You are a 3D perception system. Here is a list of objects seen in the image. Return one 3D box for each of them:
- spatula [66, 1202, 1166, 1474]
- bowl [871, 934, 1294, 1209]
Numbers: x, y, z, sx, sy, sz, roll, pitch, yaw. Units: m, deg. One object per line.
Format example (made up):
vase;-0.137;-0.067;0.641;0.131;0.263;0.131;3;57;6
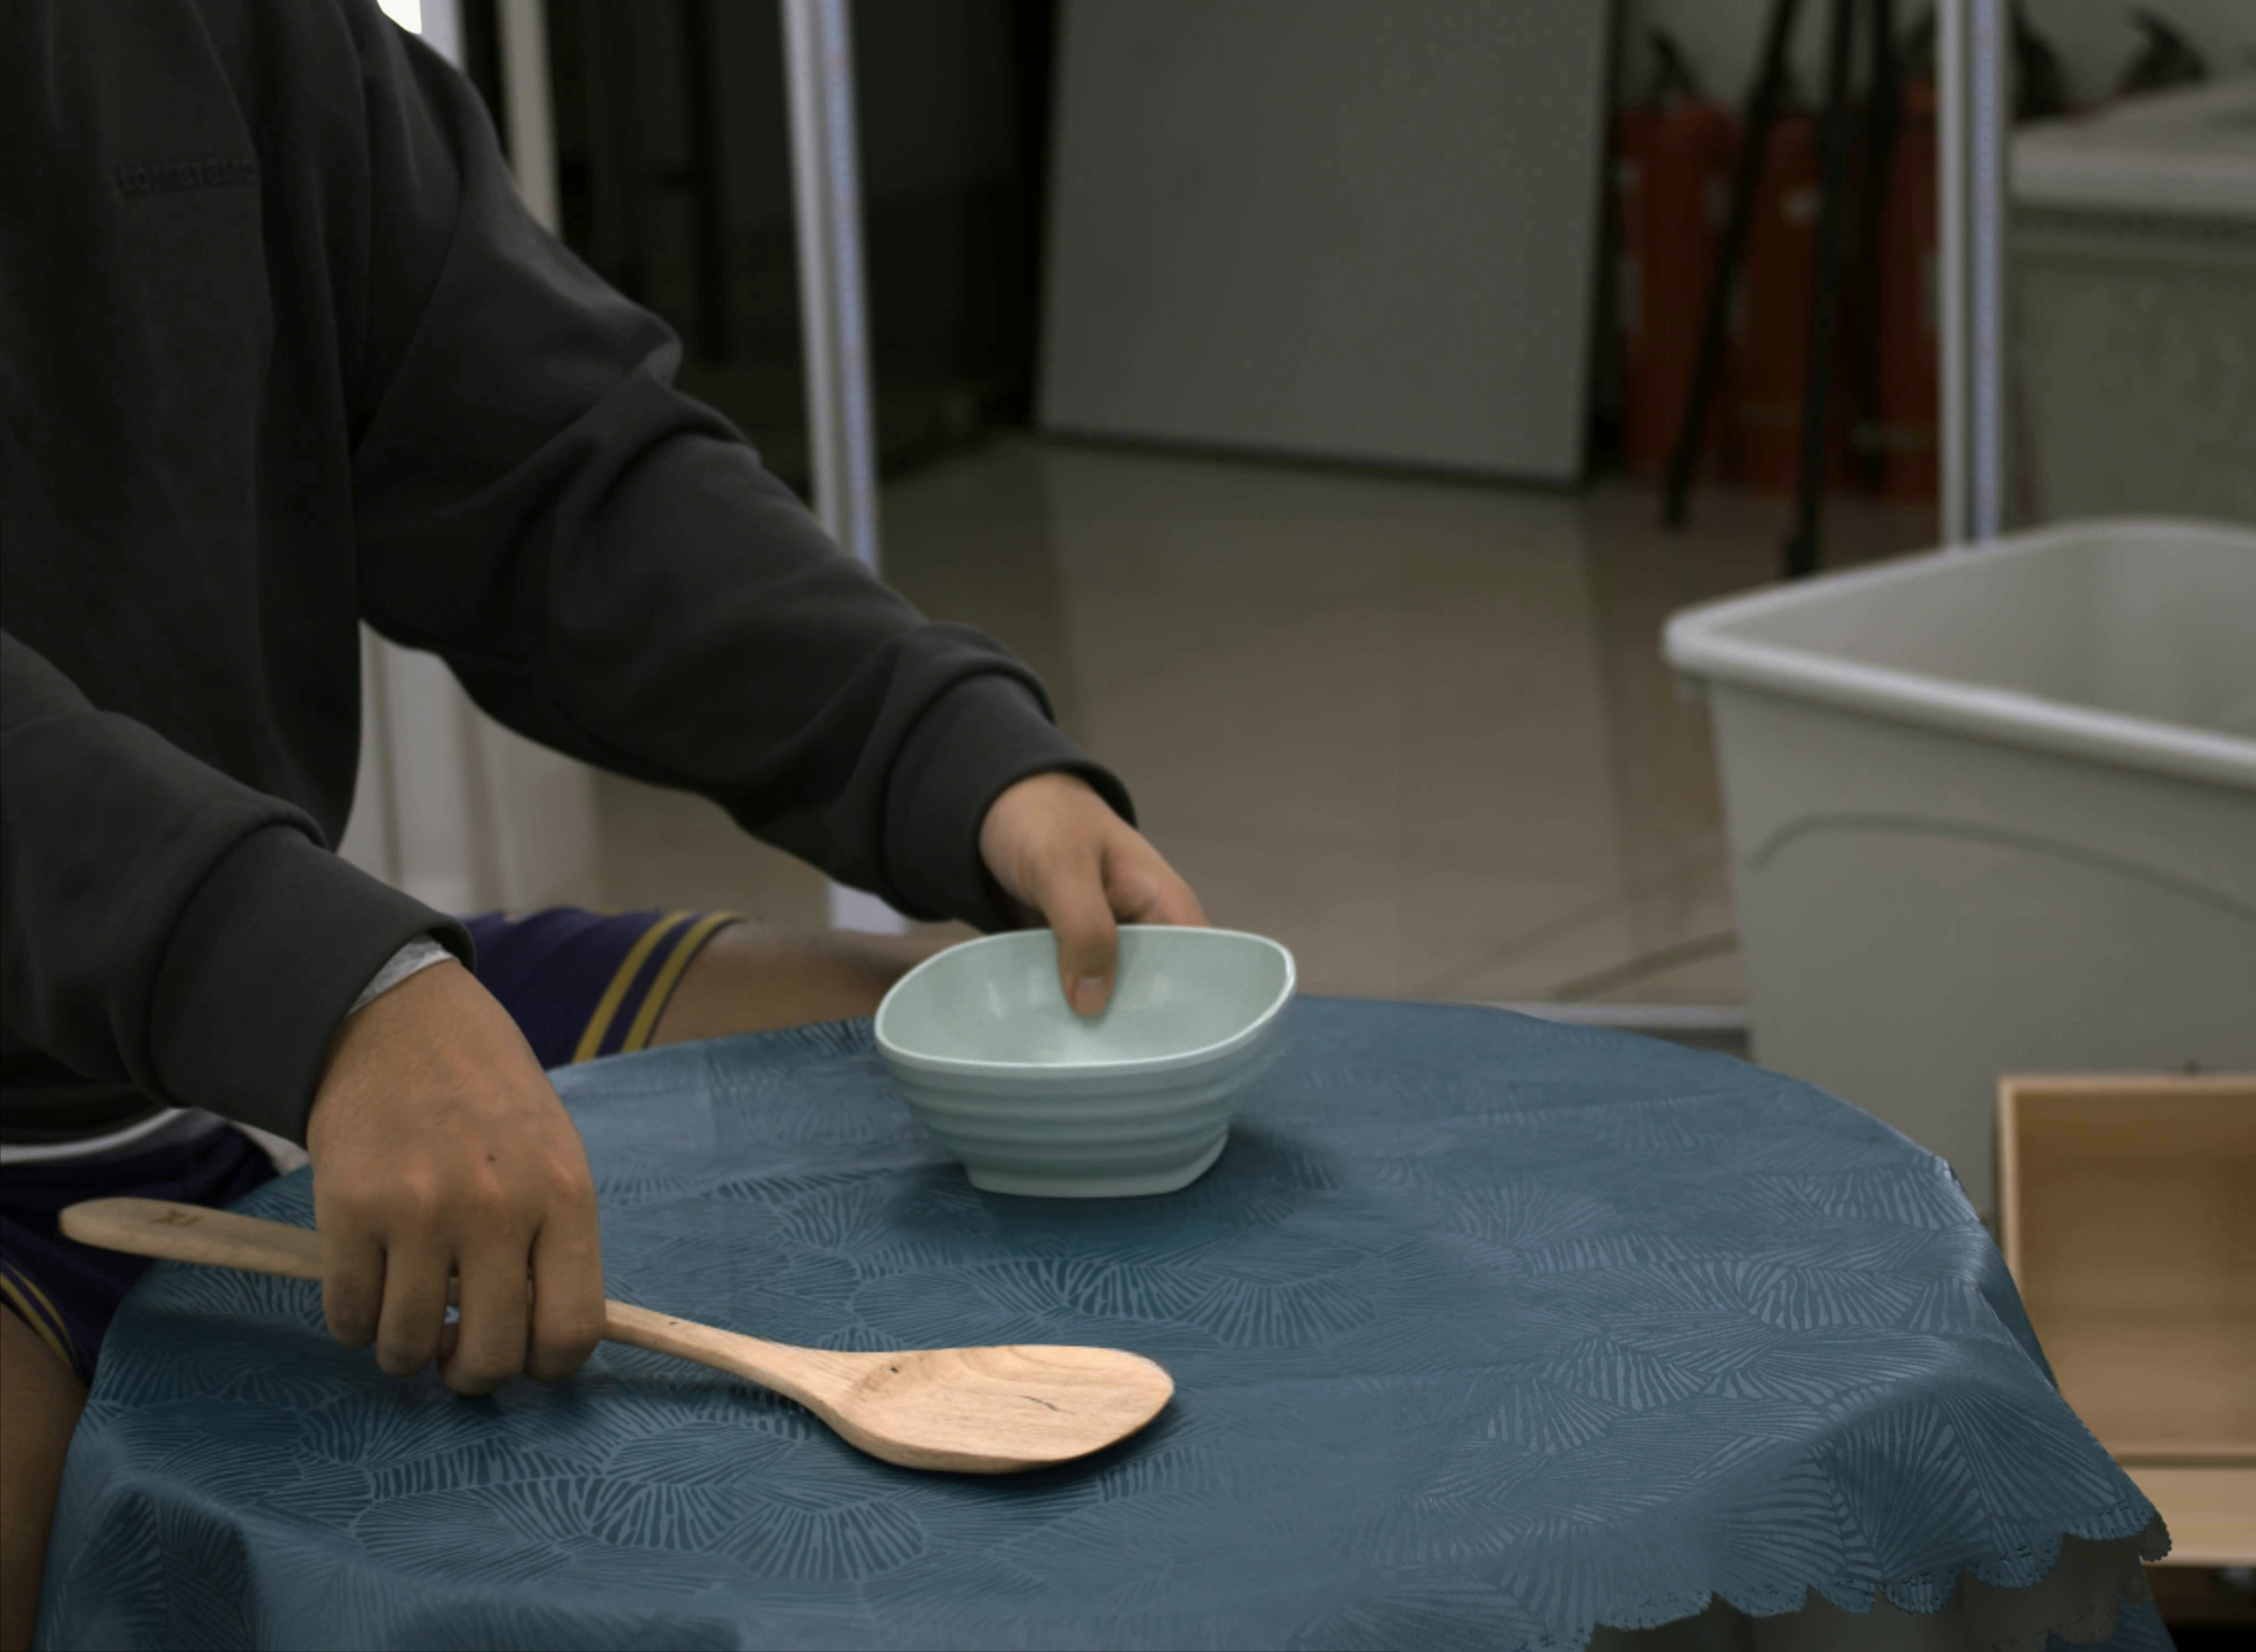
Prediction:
spatula;-0.167;0.149;1.626;0.392;0.019;0.094;9;16;29
bowl;-0.013;0.085;1.797;0.149;0.059;0.152;-3;17;0
